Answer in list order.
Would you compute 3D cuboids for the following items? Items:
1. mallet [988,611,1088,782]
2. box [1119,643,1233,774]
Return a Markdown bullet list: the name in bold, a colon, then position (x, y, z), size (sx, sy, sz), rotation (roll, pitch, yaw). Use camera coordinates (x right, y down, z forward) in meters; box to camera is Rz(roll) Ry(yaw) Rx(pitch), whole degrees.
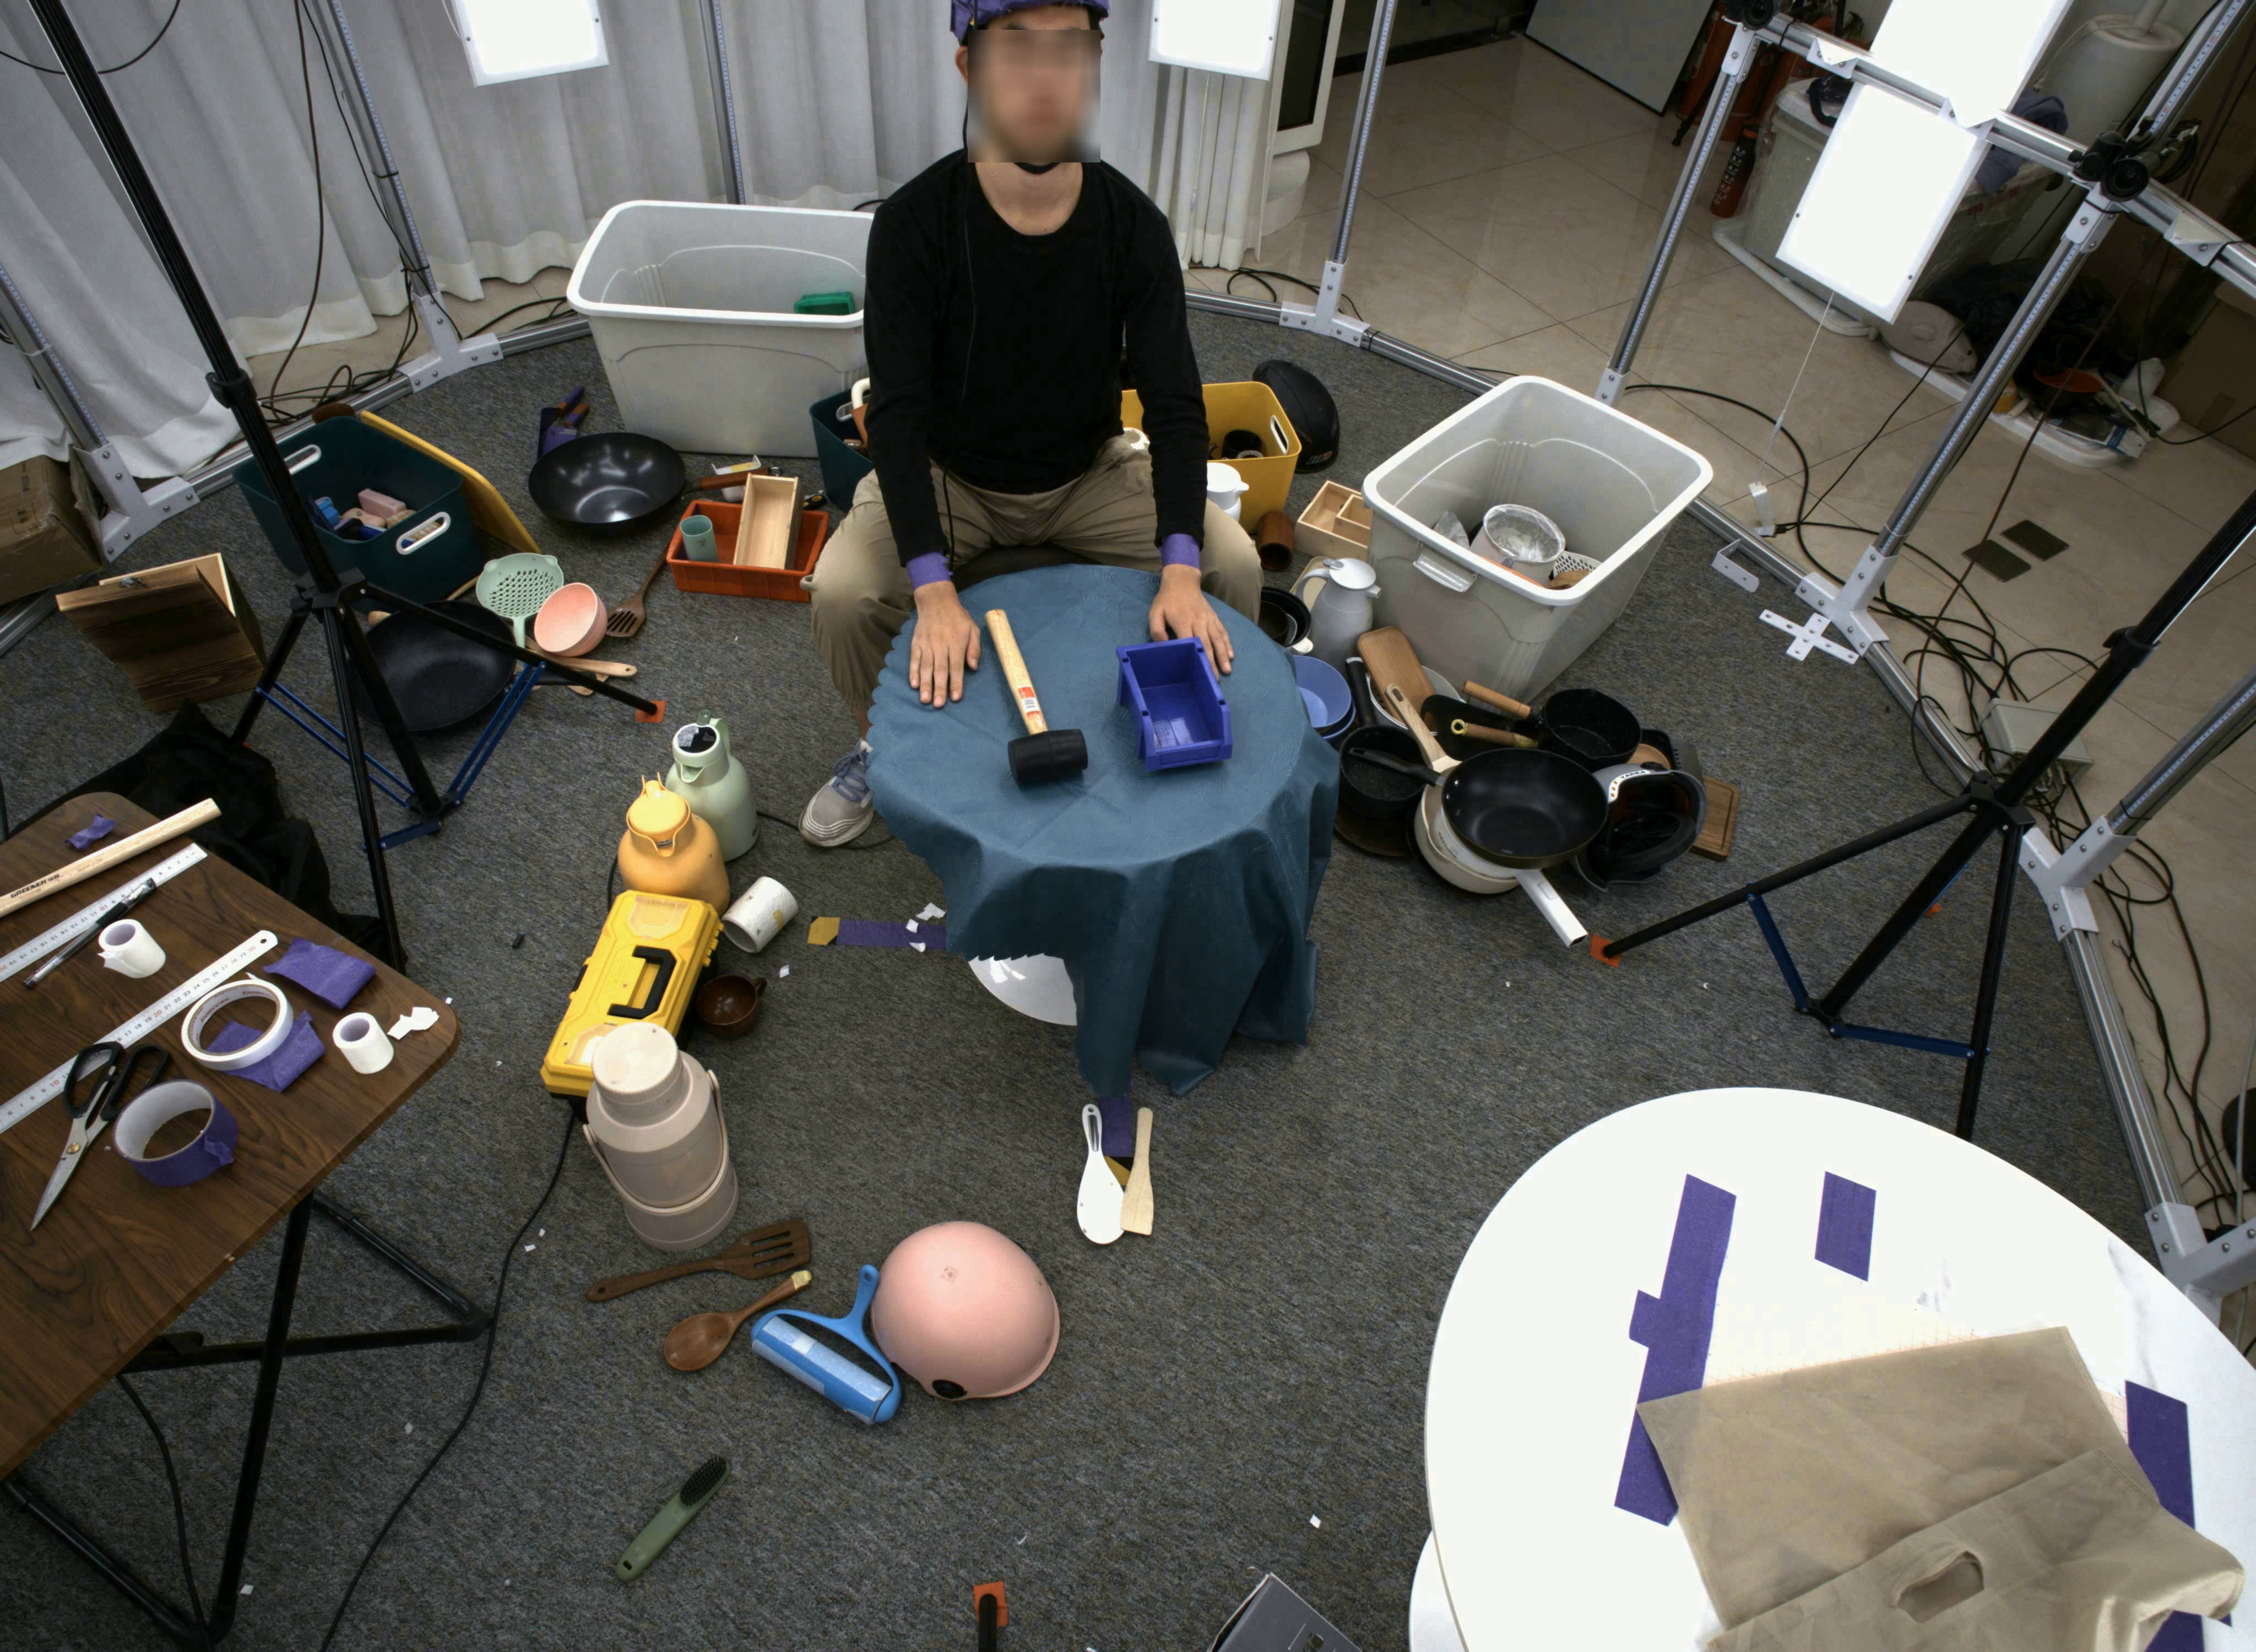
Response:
- **mallet**: position (-0.146, -0.196, 1.791), size (0.102, 0.063, 0.347), rotation (-9, 49, -14)
- **box**: position (0.066, -0.158, 1.757), size (0.124, 0.080, 0.184), rotation (-8, 47, -10)
